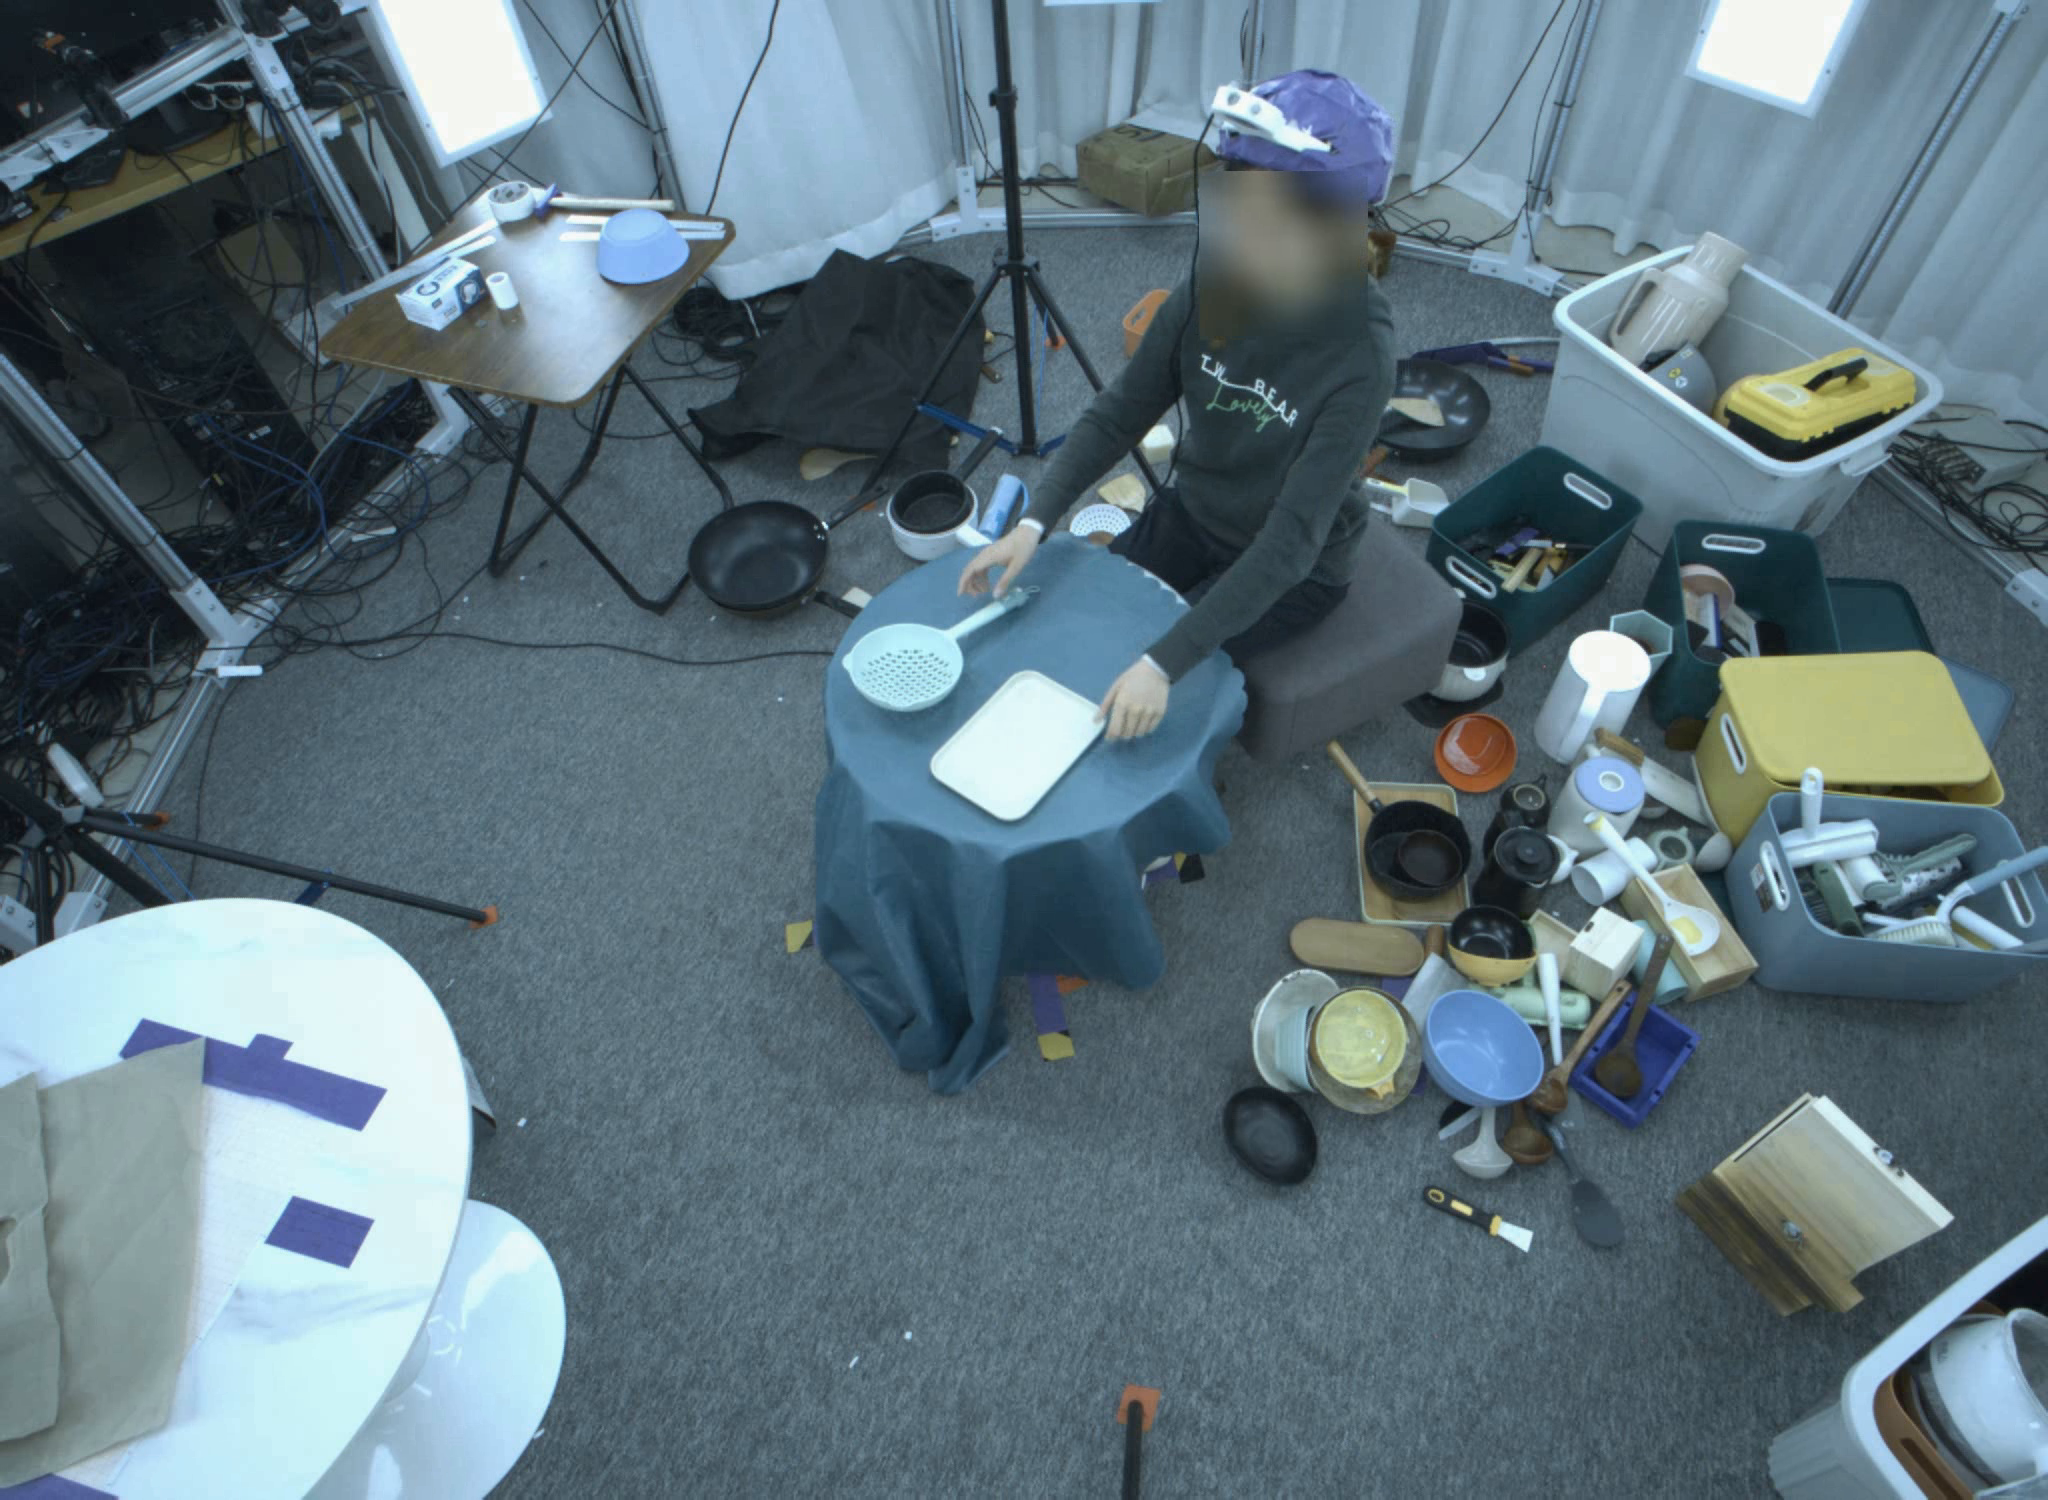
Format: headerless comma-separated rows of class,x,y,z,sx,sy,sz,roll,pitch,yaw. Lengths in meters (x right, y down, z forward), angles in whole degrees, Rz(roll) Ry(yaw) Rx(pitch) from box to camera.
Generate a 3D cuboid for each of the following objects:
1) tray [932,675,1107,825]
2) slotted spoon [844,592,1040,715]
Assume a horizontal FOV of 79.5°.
tray,-0.005,-0.002,1.789,0.168,0.017,0.241,31,61,21
slotted spoon,-0.106,-0.166,1.880,0.166,0.076,0.361,38,63,24
